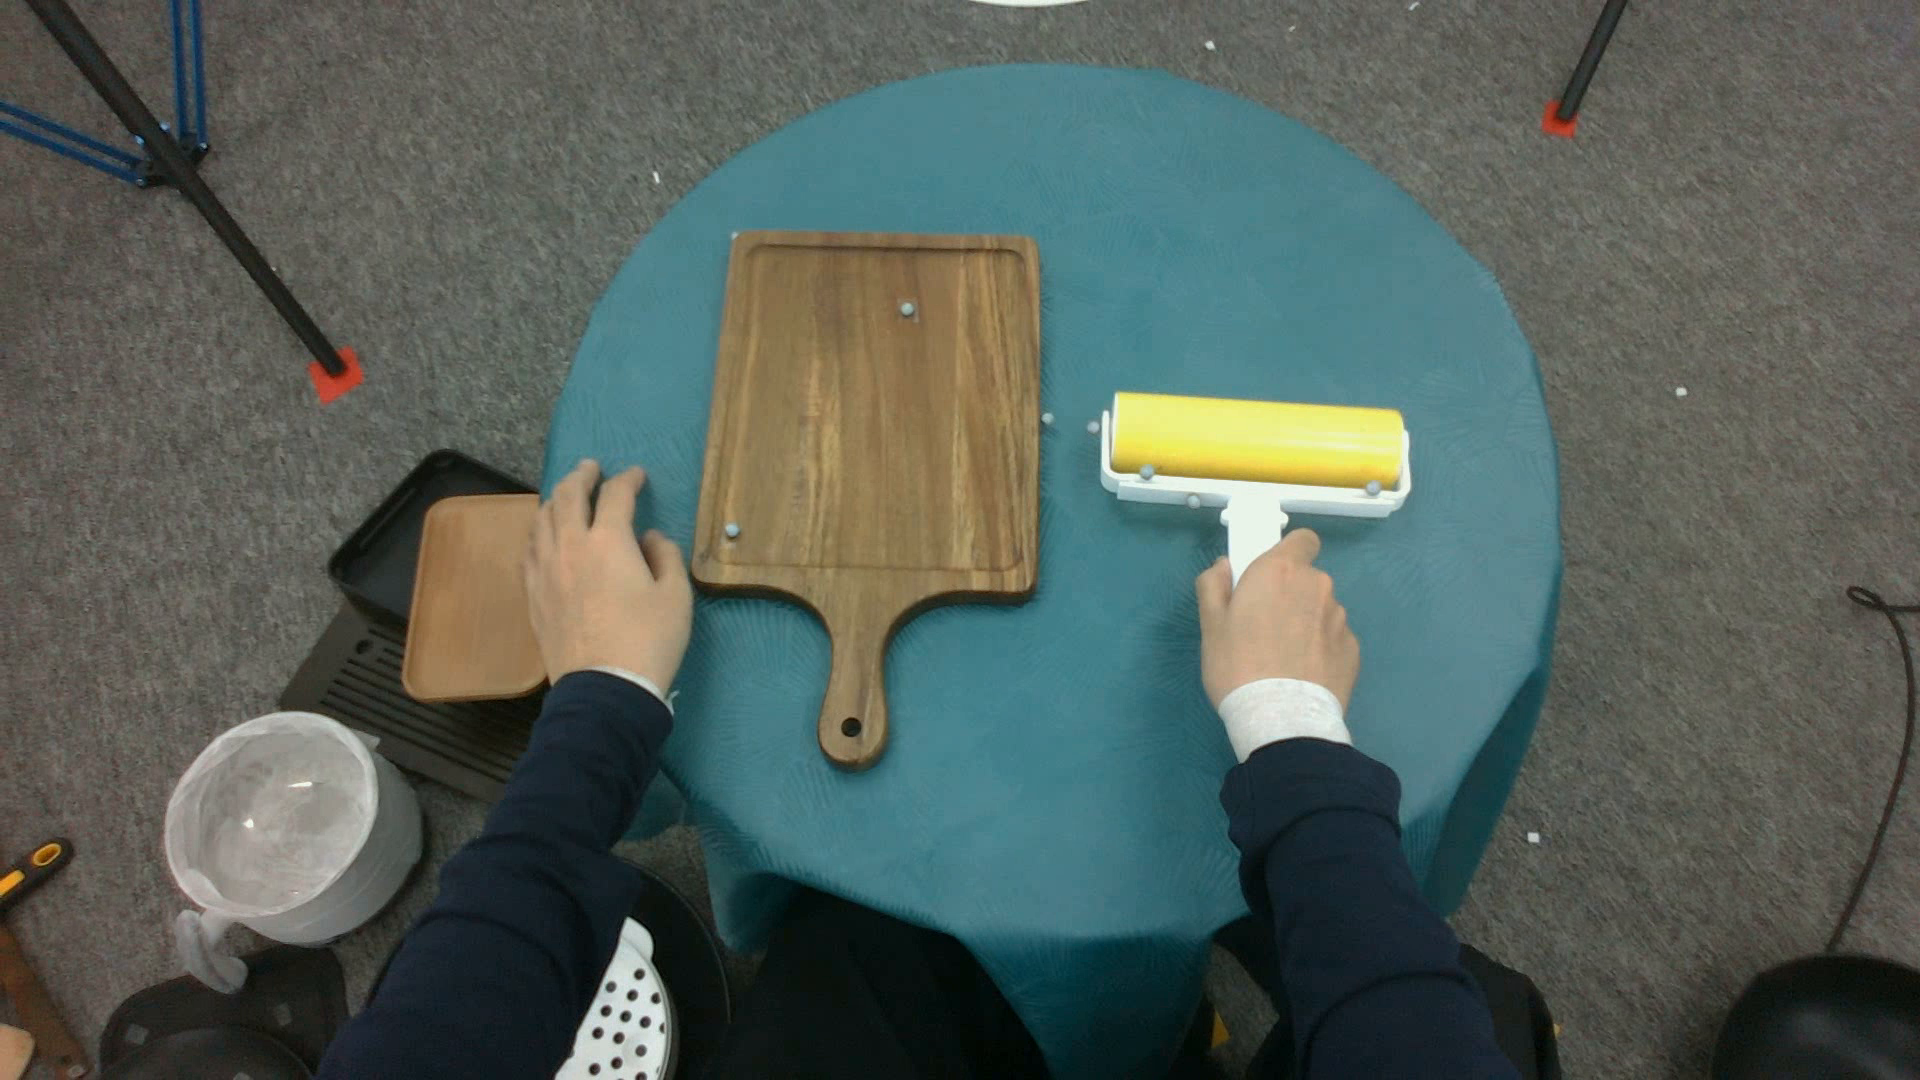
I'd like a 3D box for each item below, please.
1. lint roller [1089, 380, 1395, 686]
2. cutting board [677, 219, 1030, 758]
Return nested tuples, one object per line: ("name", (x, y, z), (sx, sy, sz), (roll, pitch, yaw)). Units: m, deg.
("lint roller", (0.158, -0.012, 0.754), (0.174, 0.051, 0.193), (3, 47, 2))
("cutting board", (-0.060, -0.045, 0.804), (0.201, 0.023, 0.353), (1, 63, 1))
